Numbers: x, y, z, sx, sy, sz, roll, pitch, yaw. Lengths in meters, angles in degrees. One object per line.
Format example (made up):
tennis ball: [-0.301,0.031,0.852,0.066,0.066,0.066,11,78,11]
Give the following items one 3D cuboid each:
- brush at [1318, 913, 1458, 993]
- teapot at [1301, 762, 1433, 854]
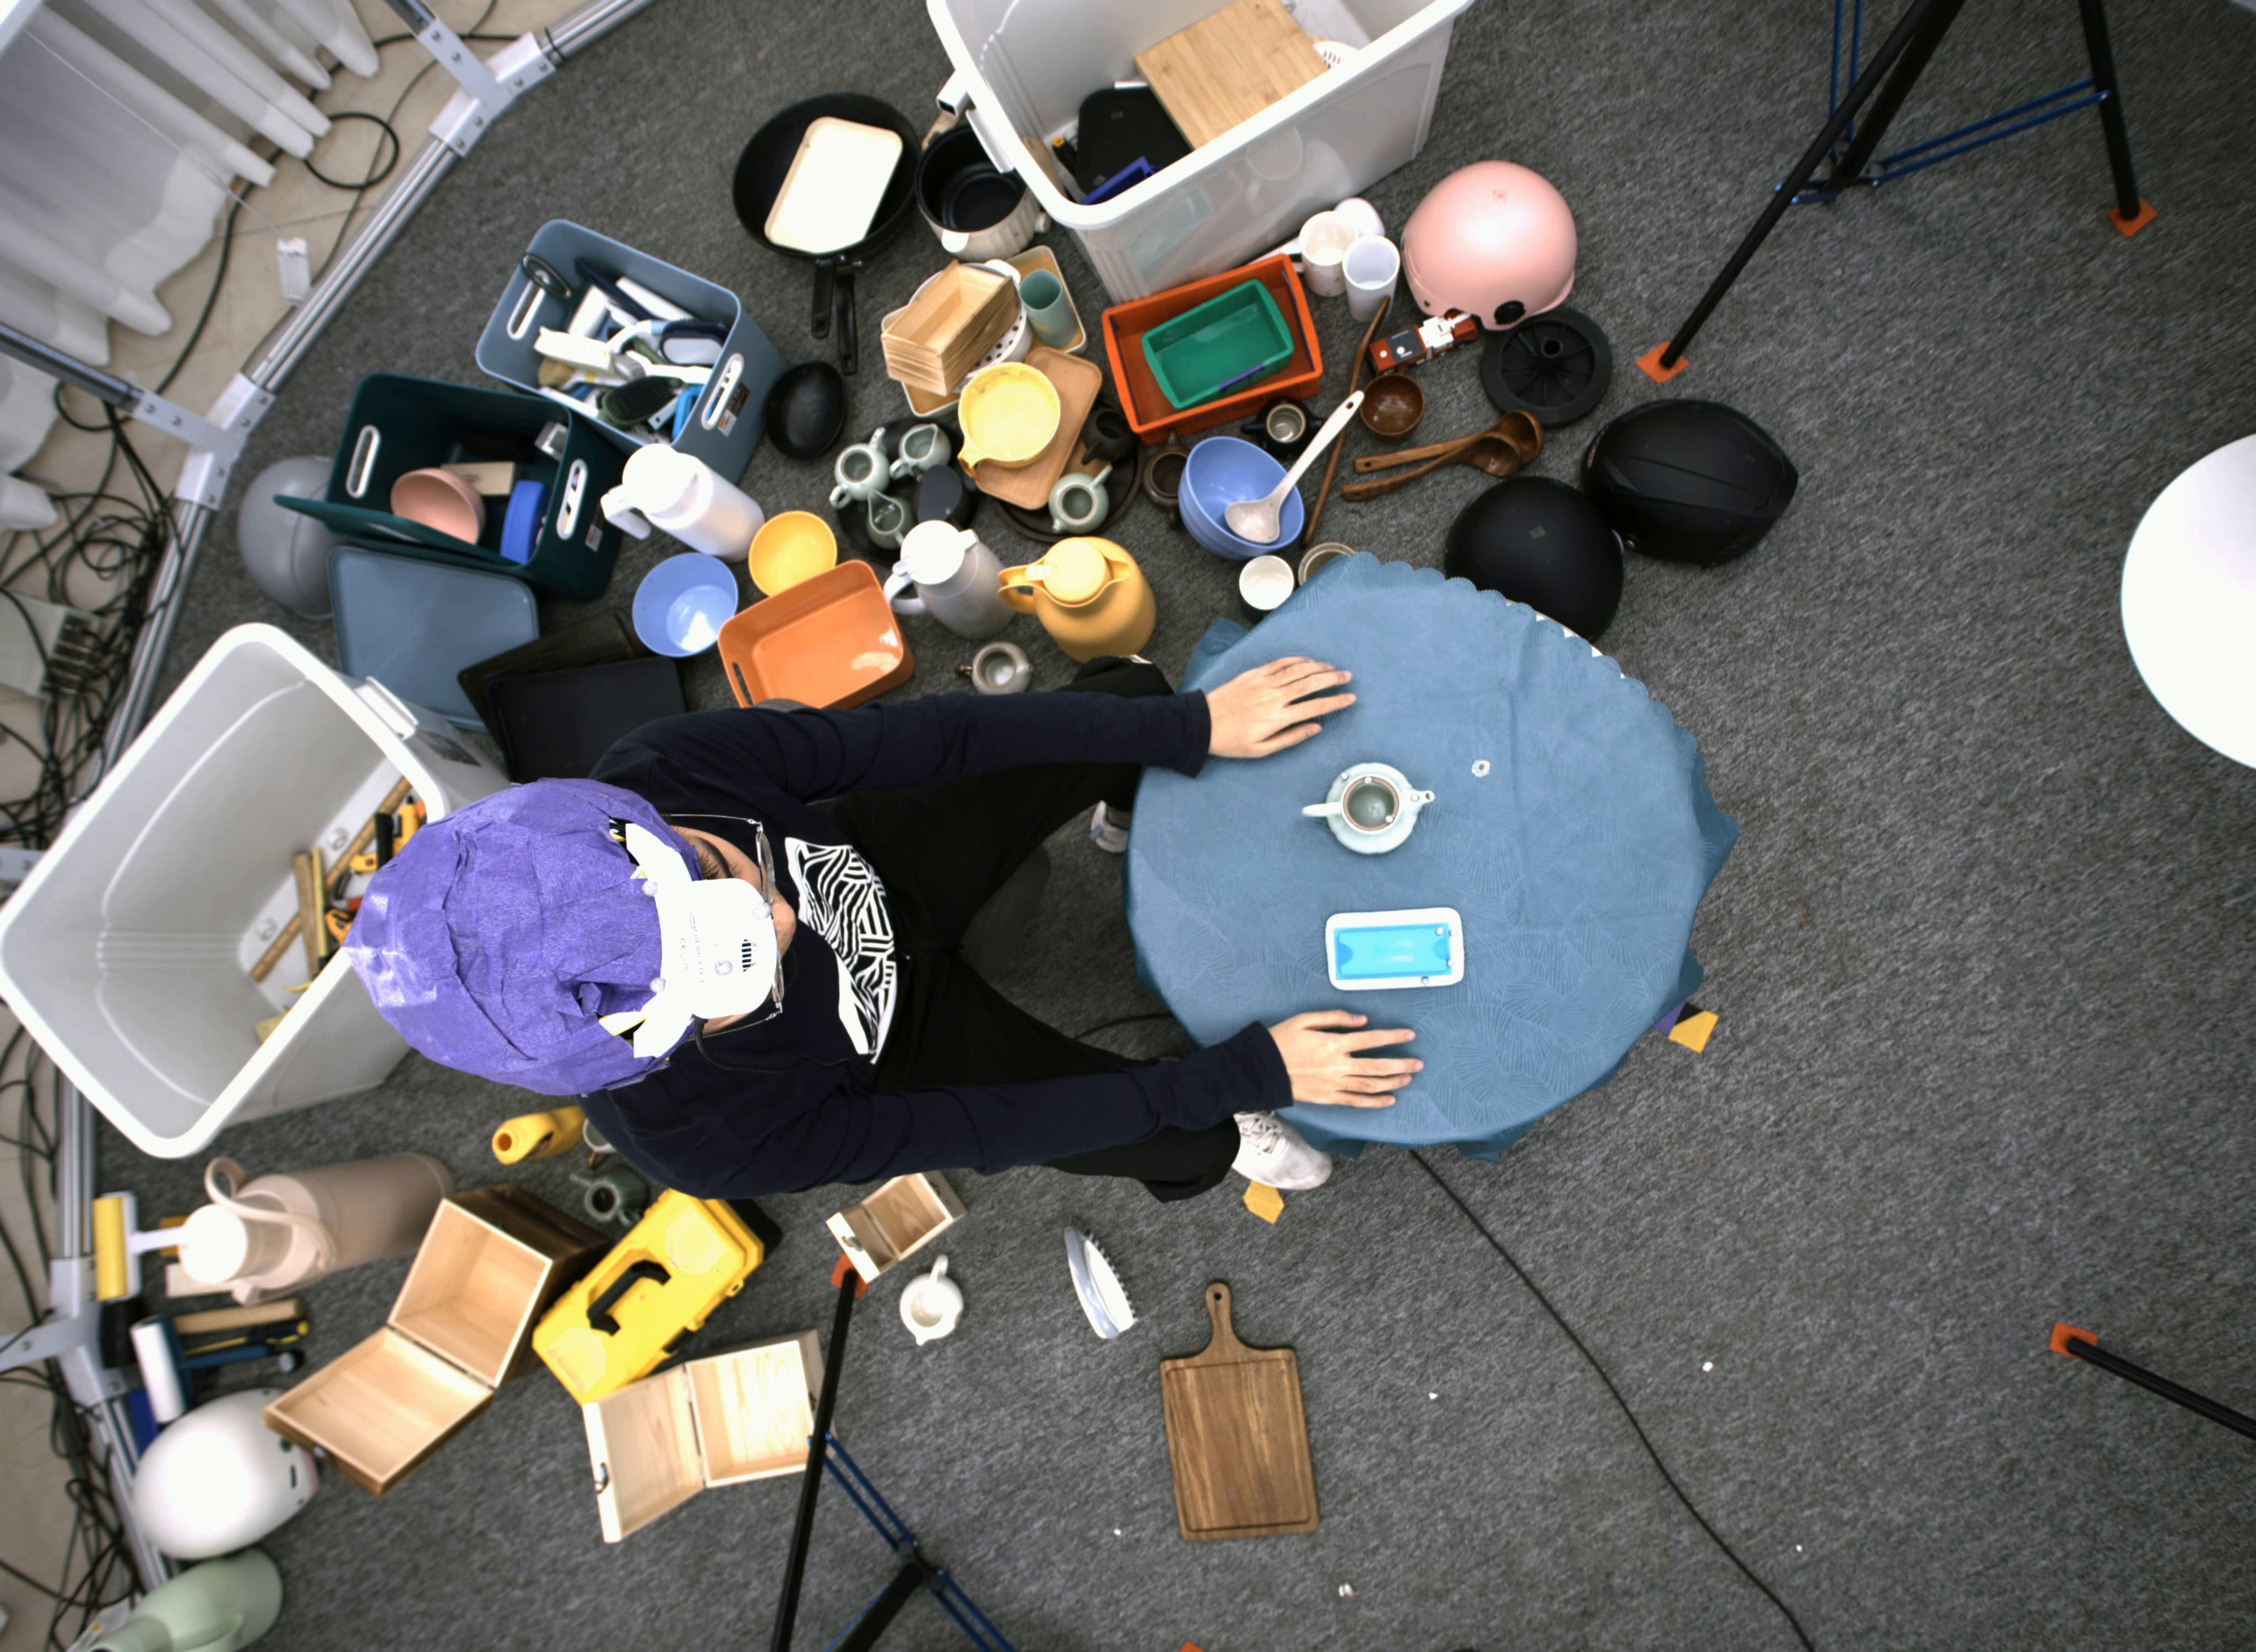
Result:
brush: [0.268,0.128,1.425,0.144,0.056,0.083,-2,83,8]
teapot: [0.248,-0.021,1.437,0.137,0.061,0.096,-9,86,9]
